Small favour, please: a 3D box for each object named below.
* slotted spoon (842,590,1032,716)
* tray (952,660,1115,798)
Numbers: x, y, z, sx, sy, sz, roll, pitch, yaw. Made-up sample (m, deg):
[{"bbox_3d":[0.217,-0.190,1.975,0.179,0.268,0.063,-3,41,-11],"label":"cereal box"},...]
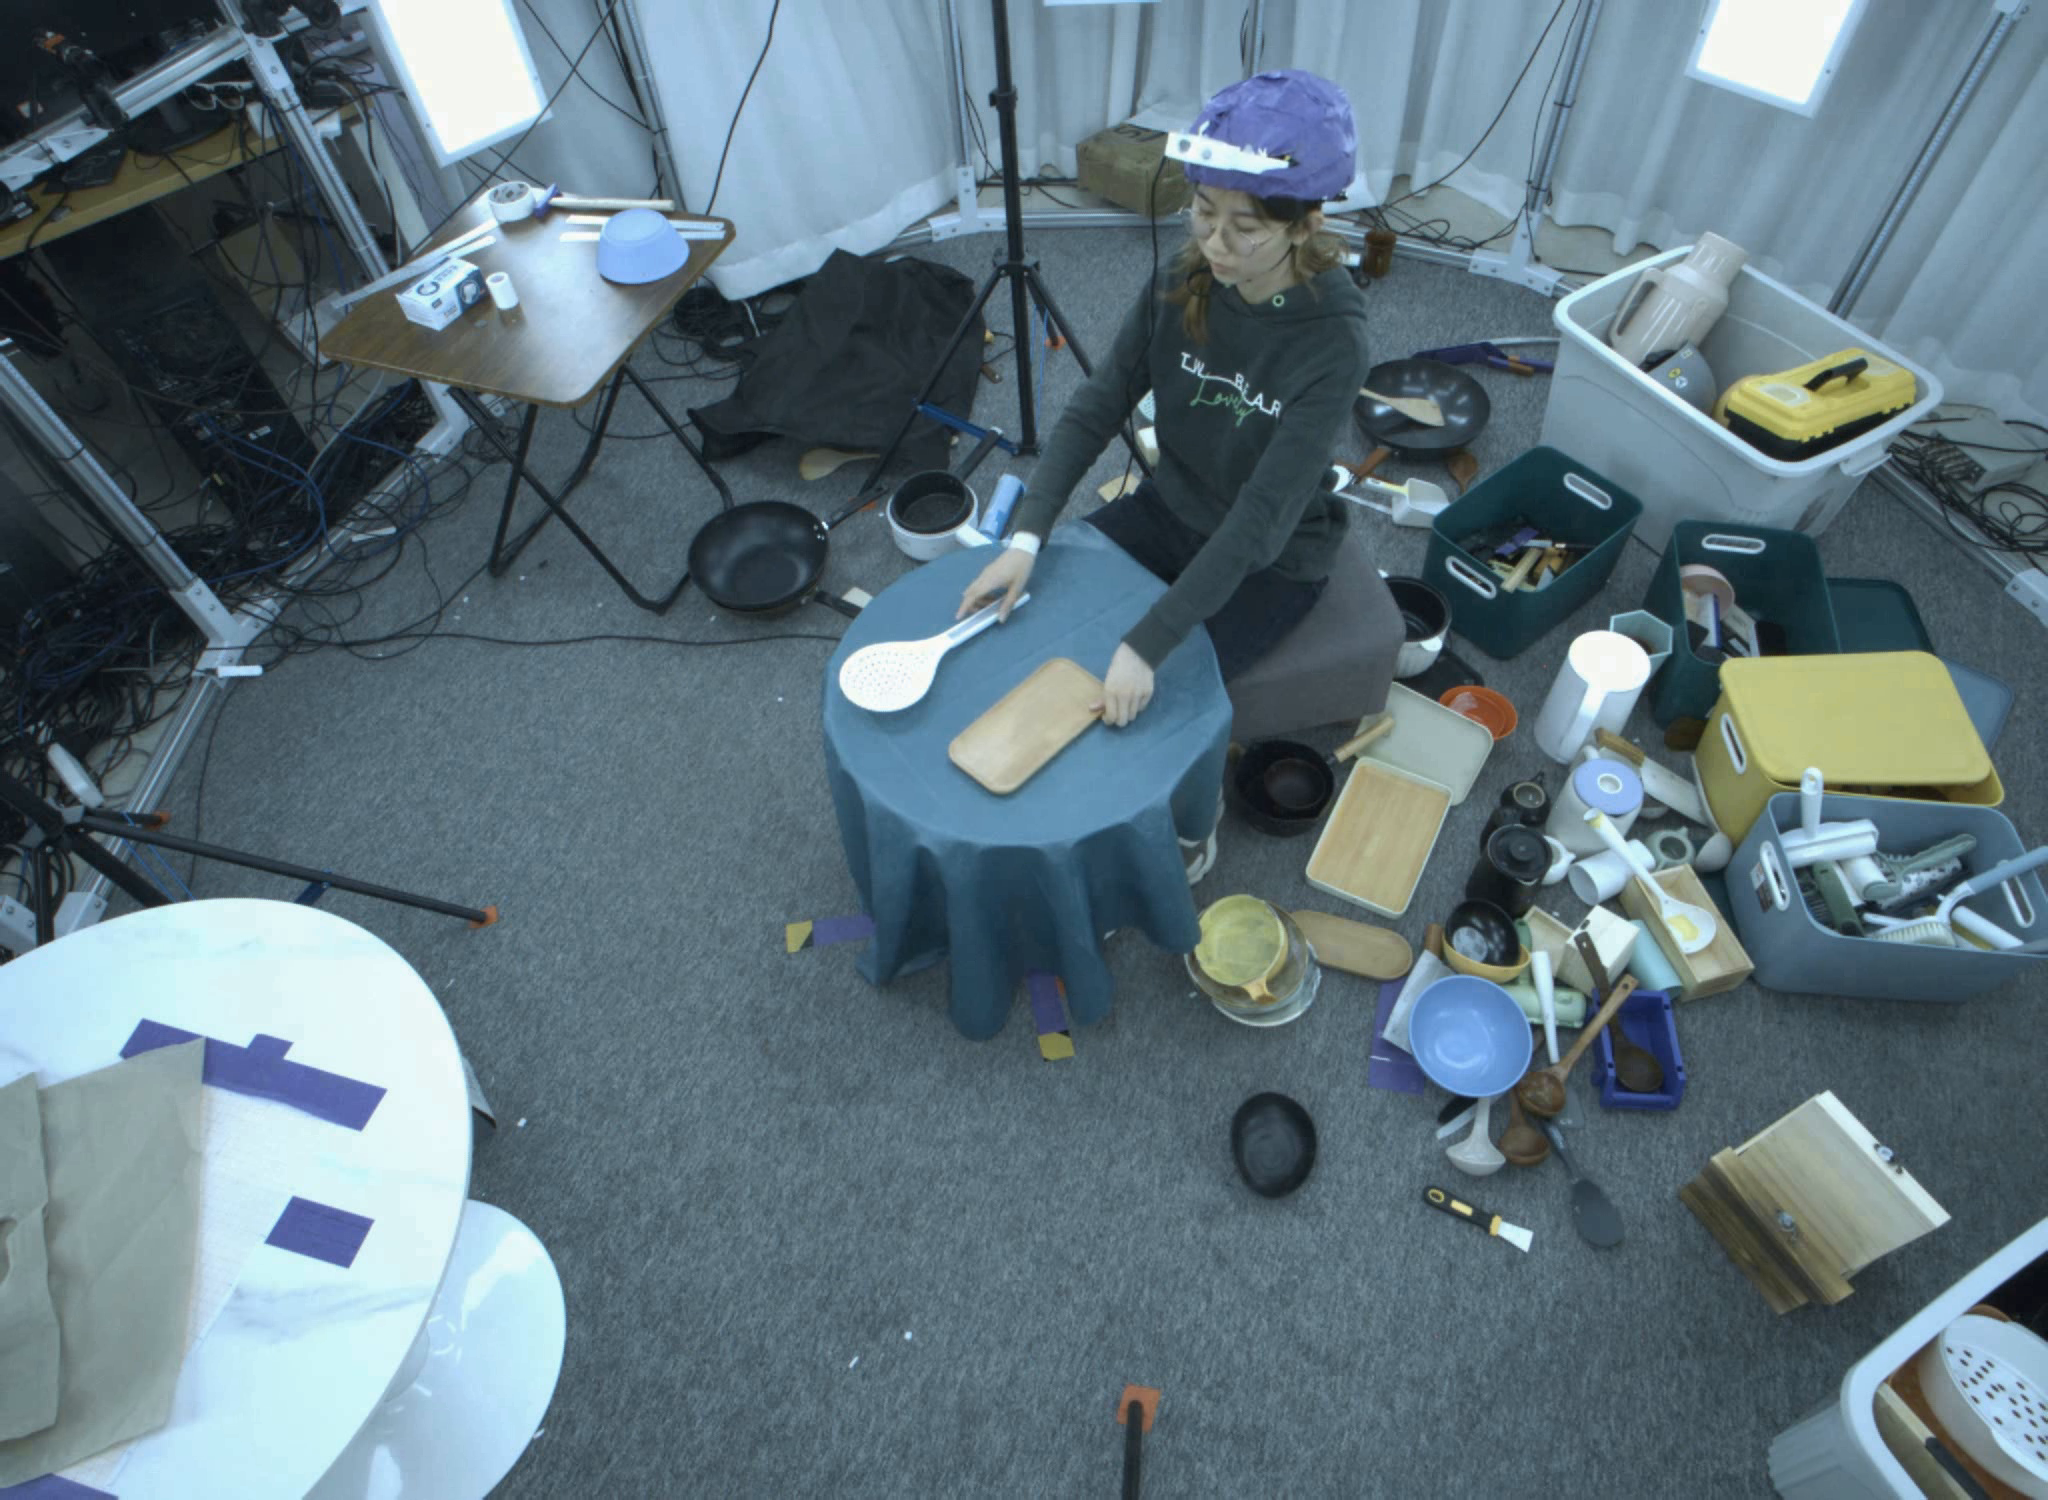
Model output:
[{"bbox_3d":[-0.125,-0.157,1.884,0.352,0.046,0.134,-37,64,-23],"label":"slotted spoon"},{"bbox_3d":[0.015,-0.033,1.810,0.128,0.023,0.252,39,63,23],"label":"tray"}]
